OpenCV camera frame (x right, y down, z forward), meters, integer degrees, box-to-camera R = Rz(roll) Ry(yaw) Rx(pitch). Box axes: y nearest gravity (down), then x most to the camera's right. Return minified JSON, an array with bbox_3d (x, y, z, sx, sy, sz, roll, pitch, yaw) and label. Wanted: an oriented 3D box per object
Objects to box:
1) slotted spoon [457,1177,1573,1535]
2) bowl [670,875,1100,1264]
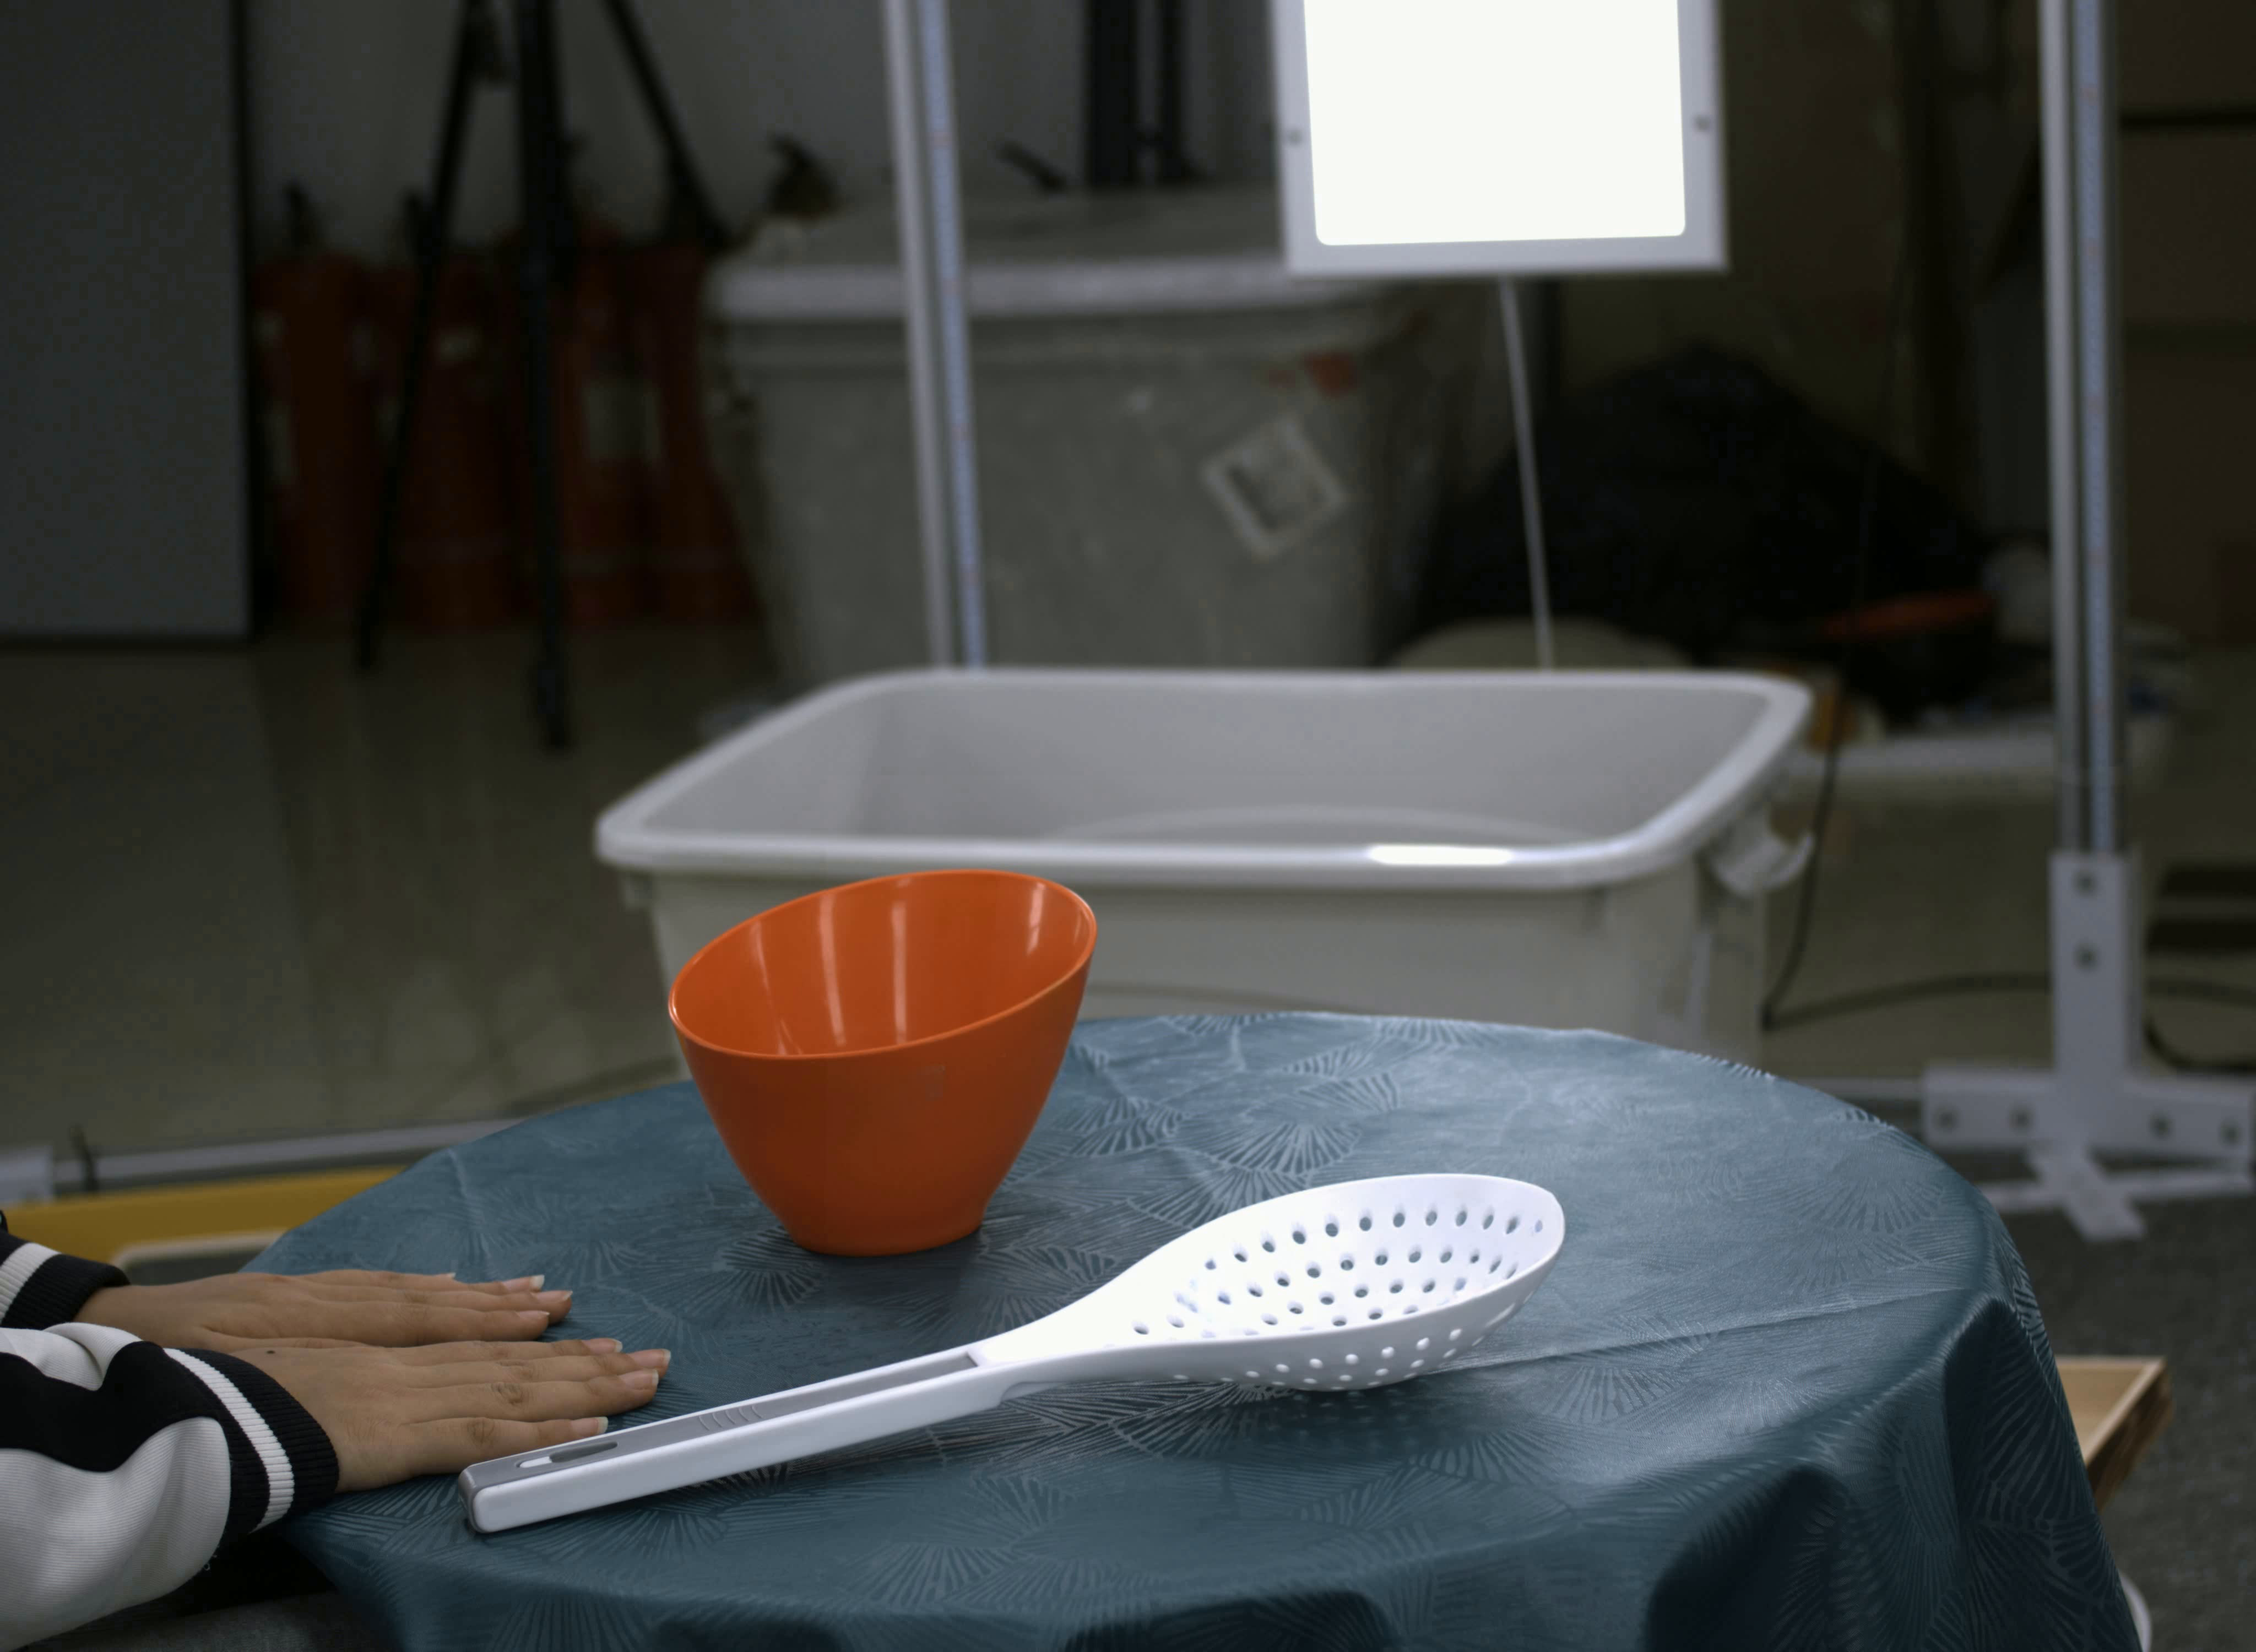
[{"bbox_3d":[-0.031,0.162,1.669,0.345,0.046,0.137,-9,13,-12],"label":"slotted spoon"},{"bbox_3d":[-0.080,0.087,1.880,0.147,0.105,0.148,-4,15,0],"label":"bowl"}]
